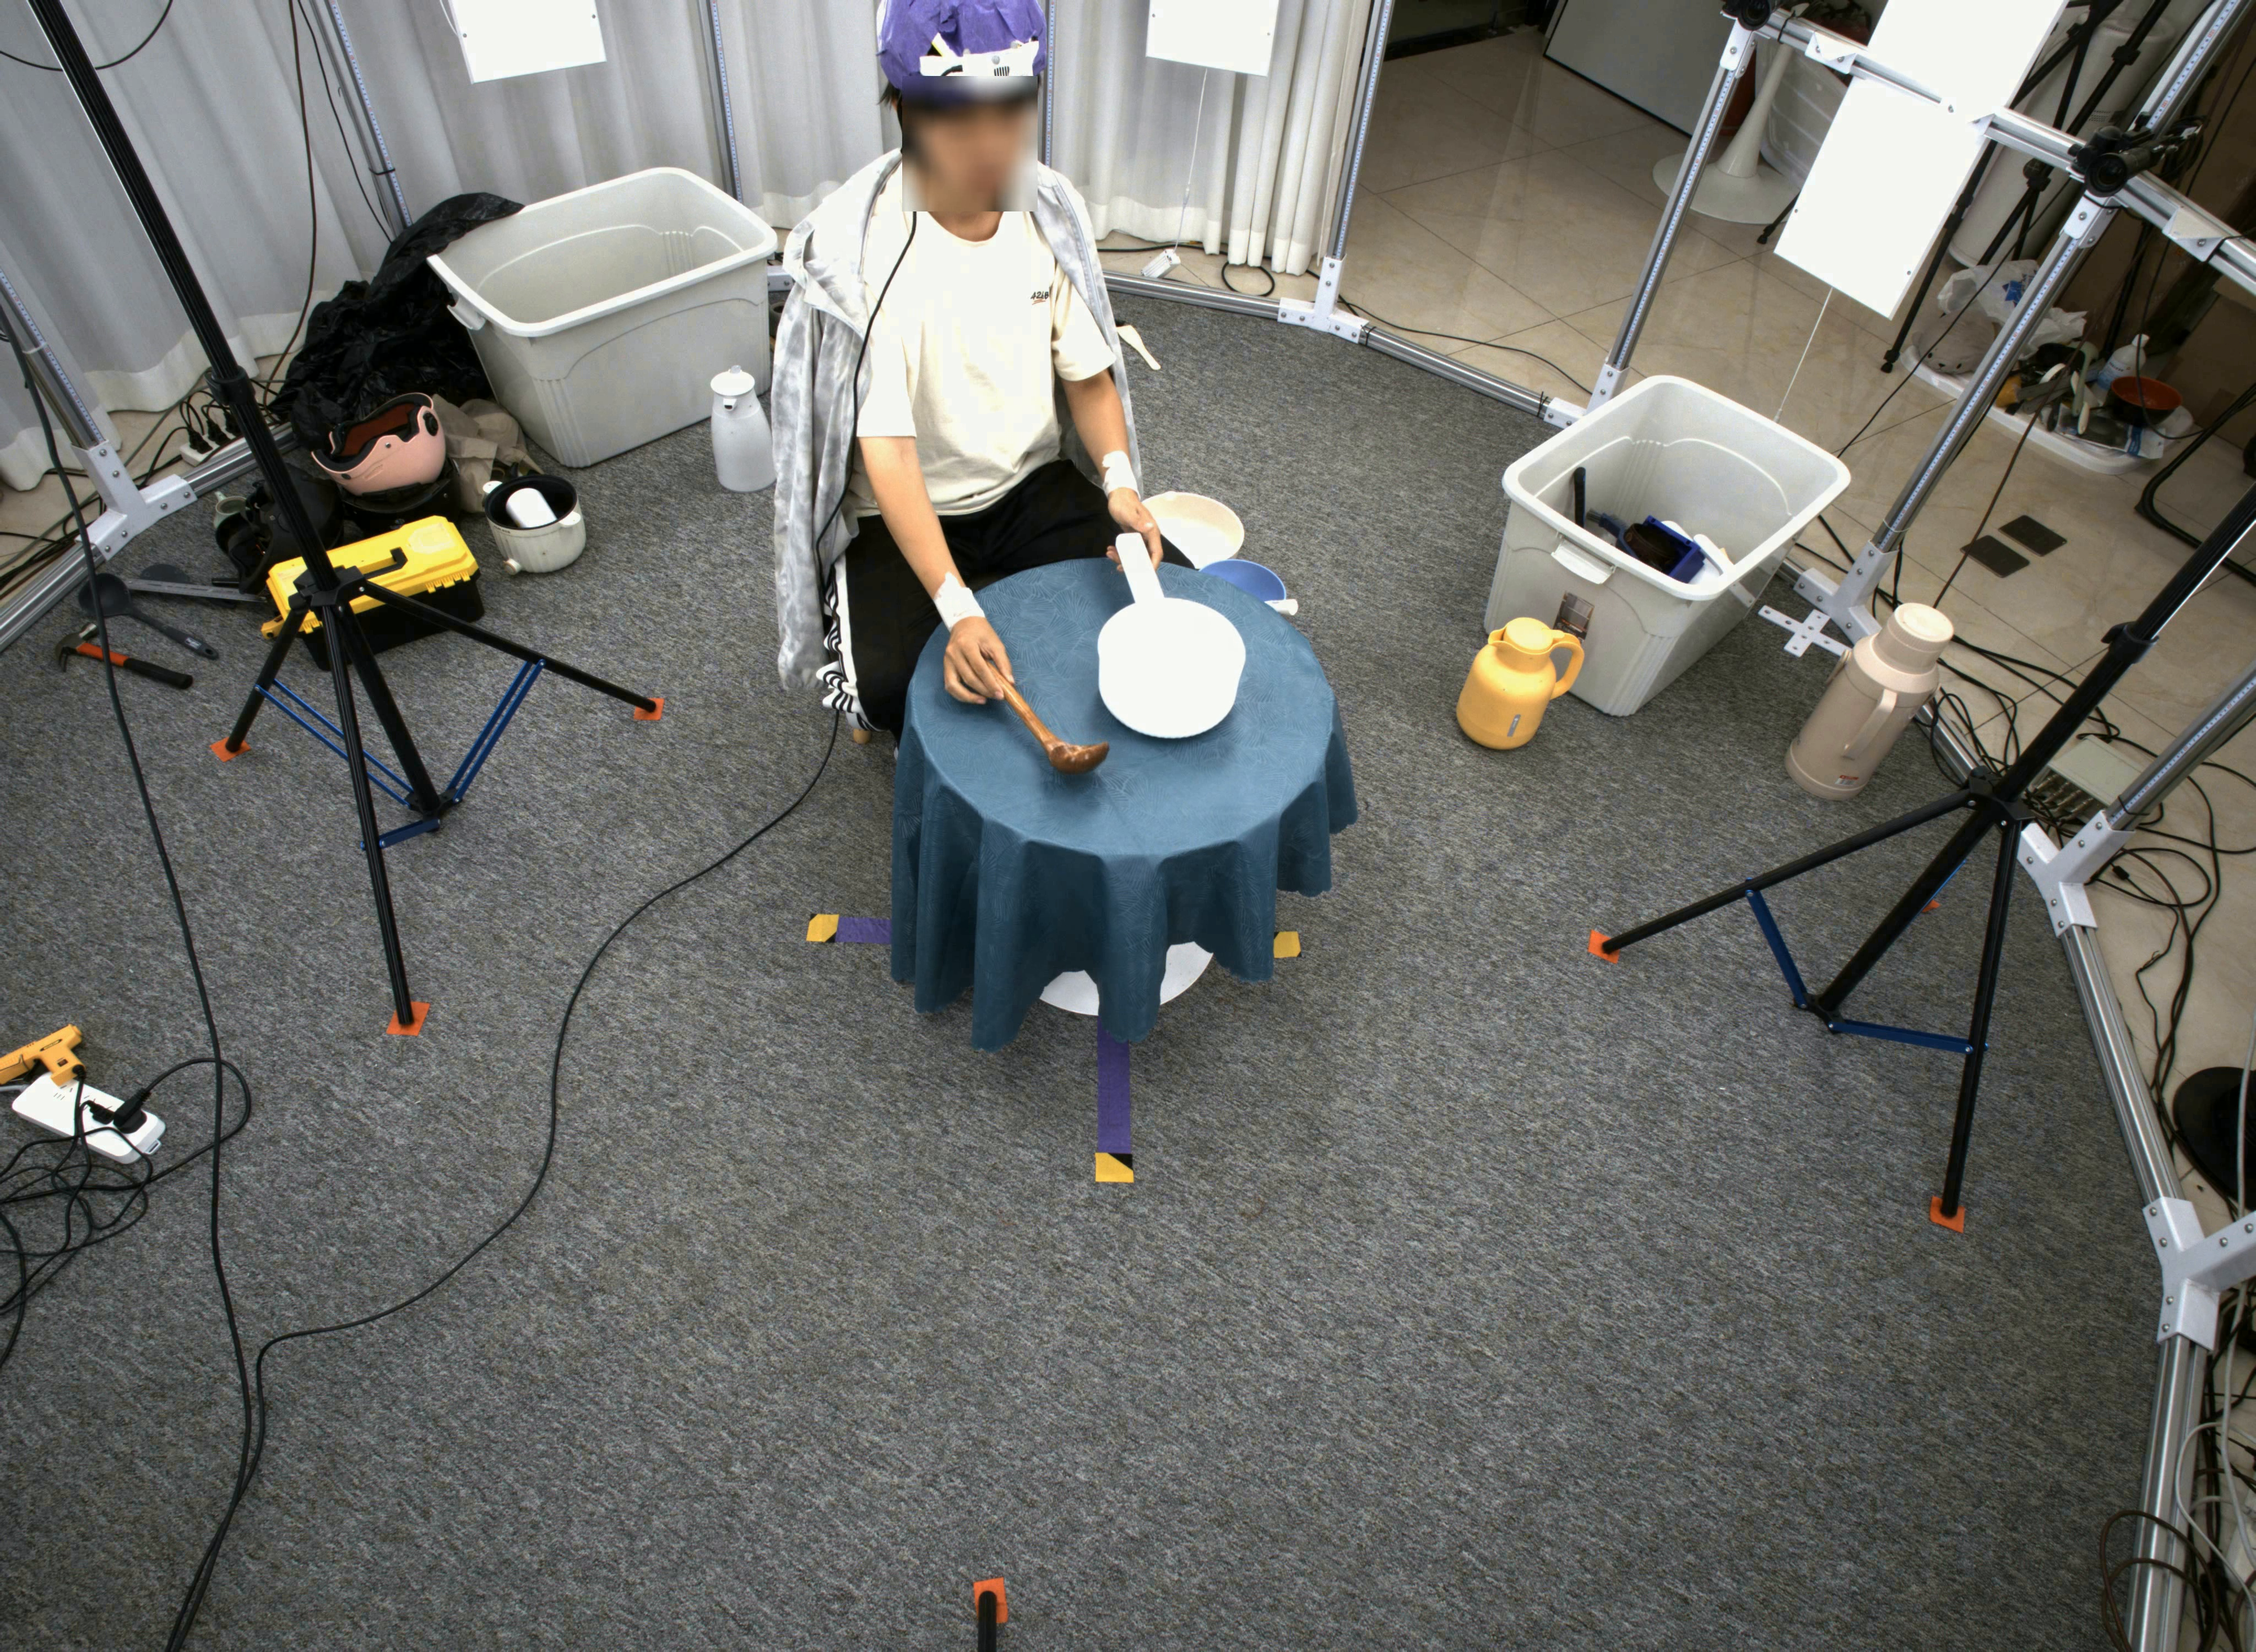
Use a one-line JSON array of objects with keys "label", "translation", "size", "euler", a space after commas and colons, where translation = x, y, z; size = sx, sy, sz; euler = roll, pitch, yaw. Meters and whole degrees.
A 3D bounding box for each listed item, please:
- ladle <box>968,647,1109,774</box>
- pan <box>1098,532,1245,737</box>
[{"label": "ladle", "translation": [-0.127, -0.169, 1.721], "size": [0.082, 0.075, 0.279], "euler": [-14, 56, -42]}, {"label": "pan", "translation": [0.041, -0.274, 1.838], "size": [0.201, 0.099, 0.364], "euler": [-8, 49, -10]}]
